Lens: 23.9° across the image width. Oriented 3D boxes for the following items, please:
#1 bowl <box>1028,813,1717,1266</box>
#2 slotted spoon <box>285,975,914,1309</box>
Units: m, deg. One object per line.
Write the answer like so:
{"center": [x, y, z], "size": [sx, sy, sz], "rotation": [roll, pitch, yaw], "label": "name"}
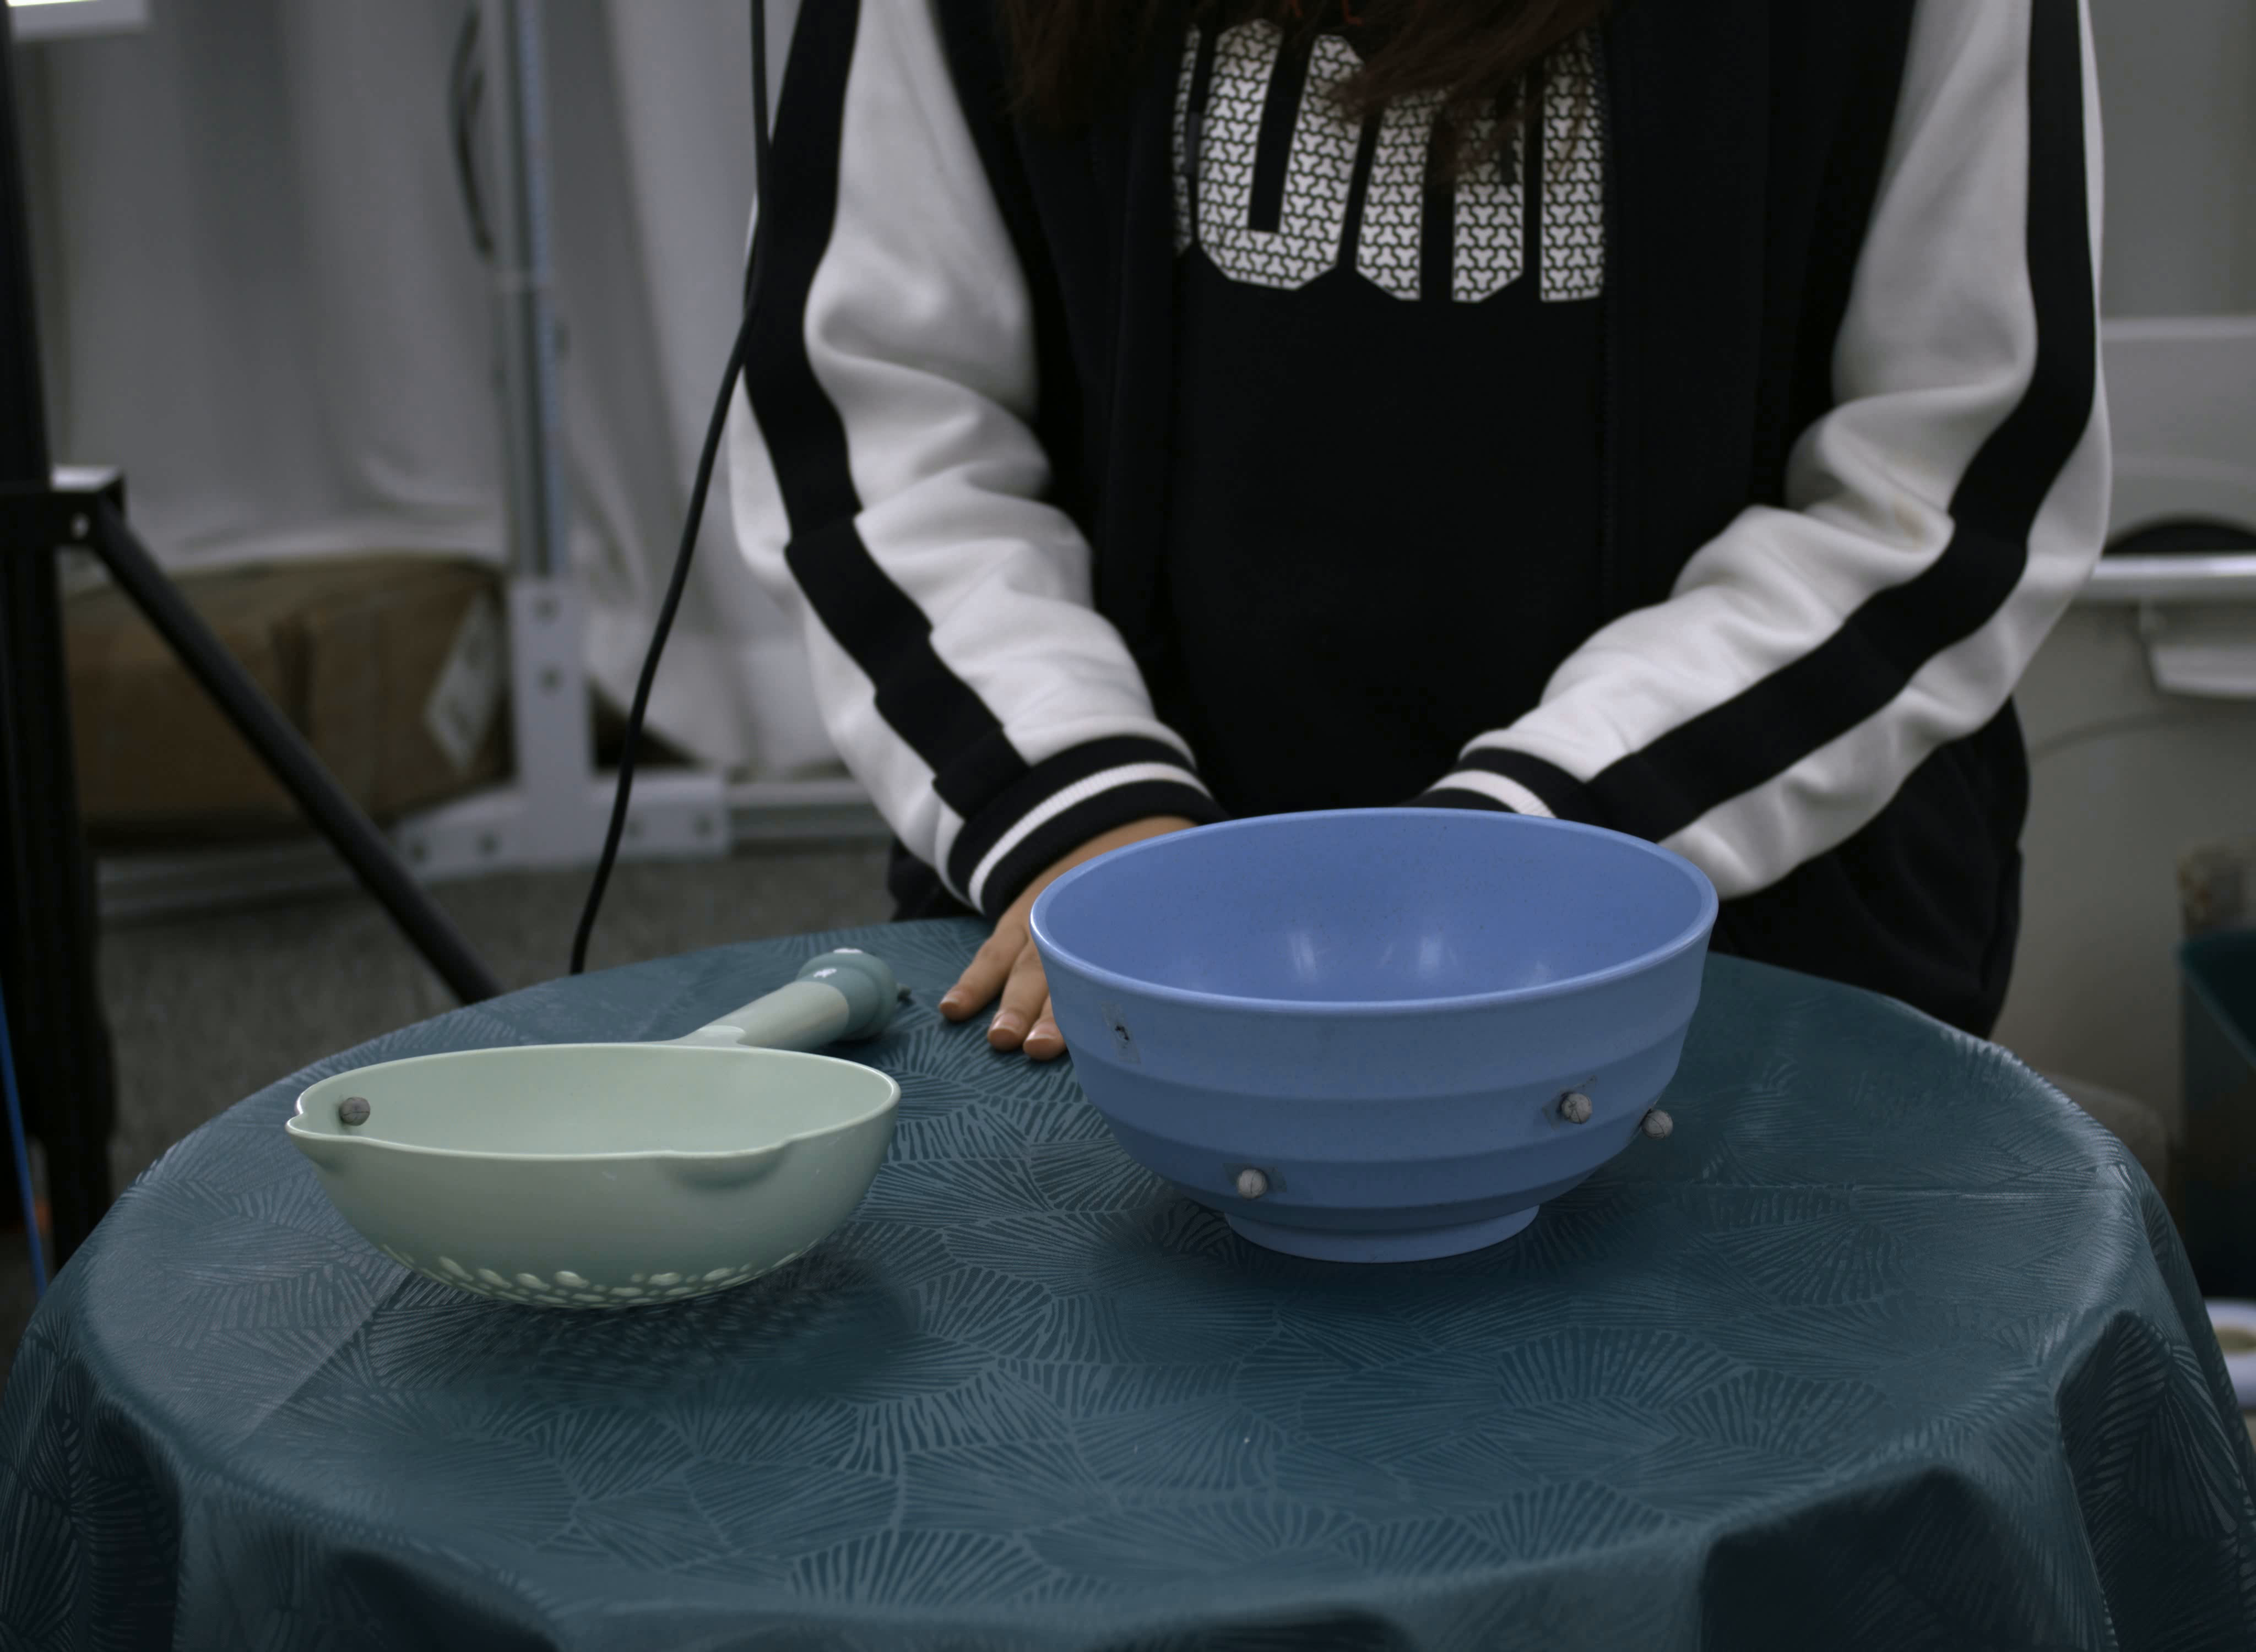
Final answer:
{"center": [0.071, 0.066, 1.520], "size": [0.195, 0.095, 0.197], "rotation": [-3, 15, -1], "label": "bowl"}
{"center": [-0.123, 0.078, 1.580], "size": [0.170, 0.075, 0.356], "rotation": [2, 14, 15], "label": "slotted spoon"}
